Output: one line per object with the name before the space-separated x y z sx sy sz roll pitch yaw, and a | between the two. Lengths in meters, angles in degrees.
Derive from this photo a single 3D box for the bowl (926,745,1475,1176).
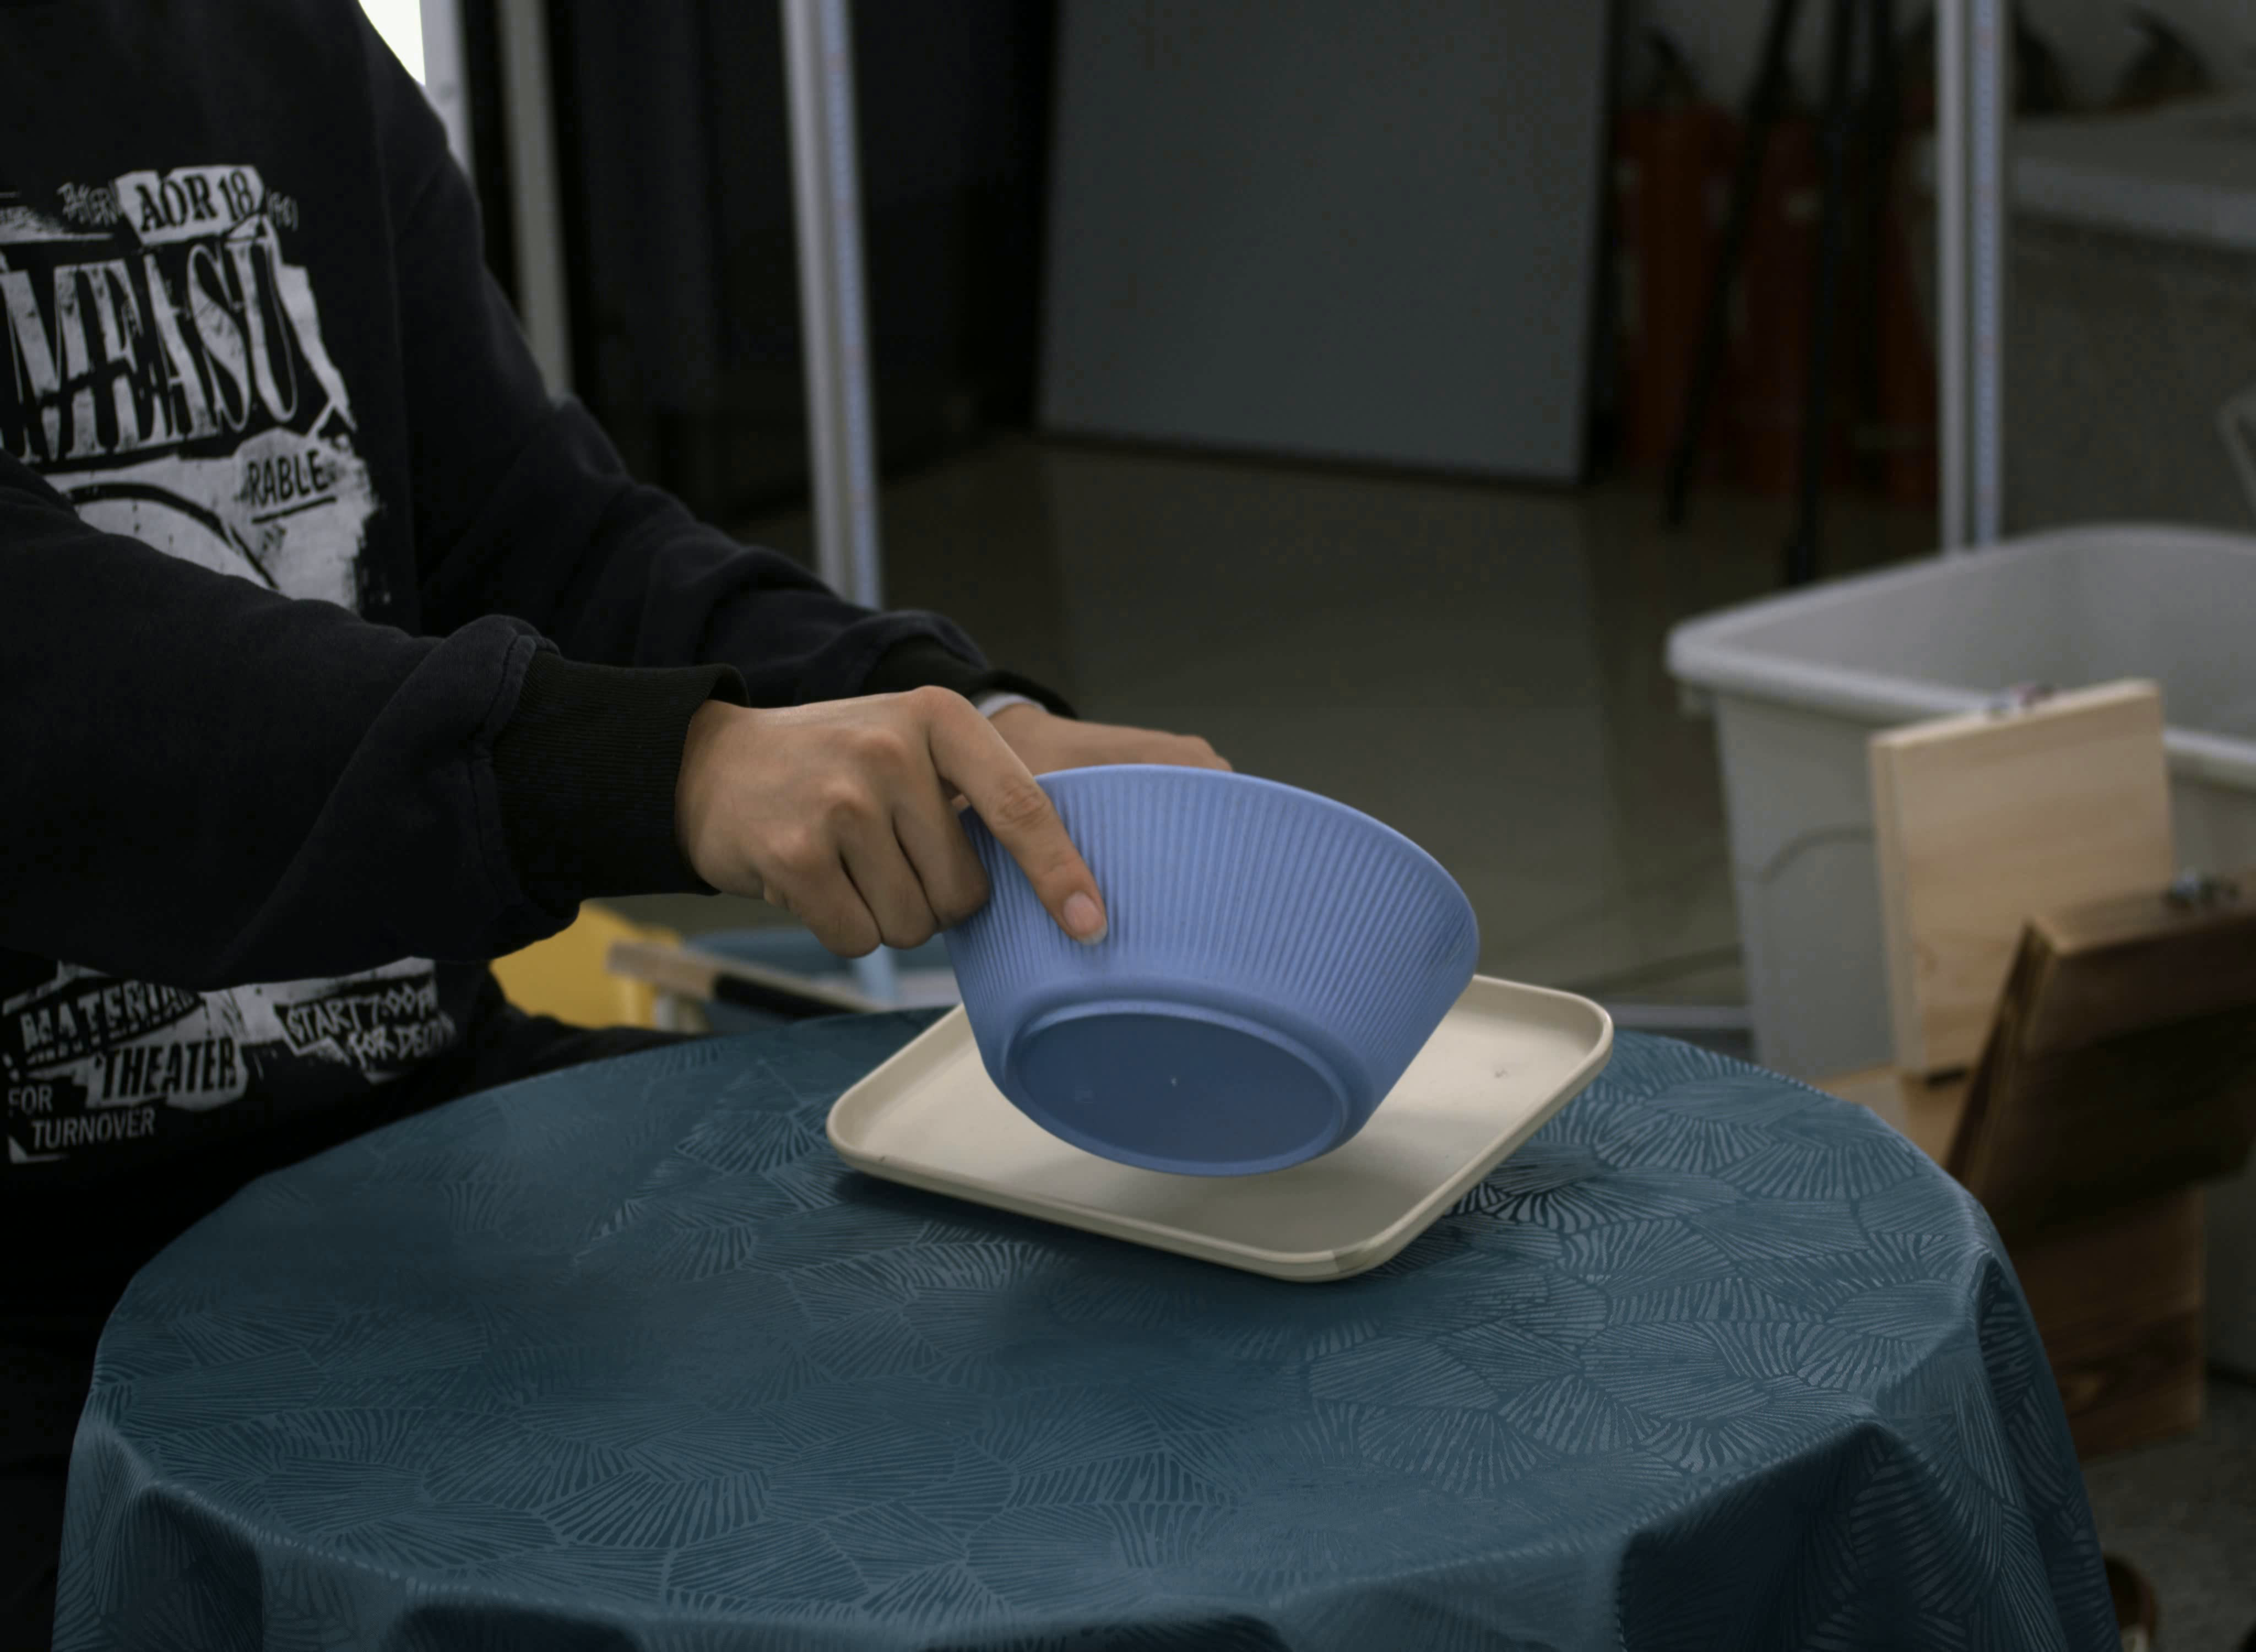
bowl | 0.018 0.051 1.666 0.175 0.175 0.071 1 56 15

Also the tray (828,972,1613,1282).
tray | 0.030 0.089 1.776 0.241 0.017 0.169 10 34 41
